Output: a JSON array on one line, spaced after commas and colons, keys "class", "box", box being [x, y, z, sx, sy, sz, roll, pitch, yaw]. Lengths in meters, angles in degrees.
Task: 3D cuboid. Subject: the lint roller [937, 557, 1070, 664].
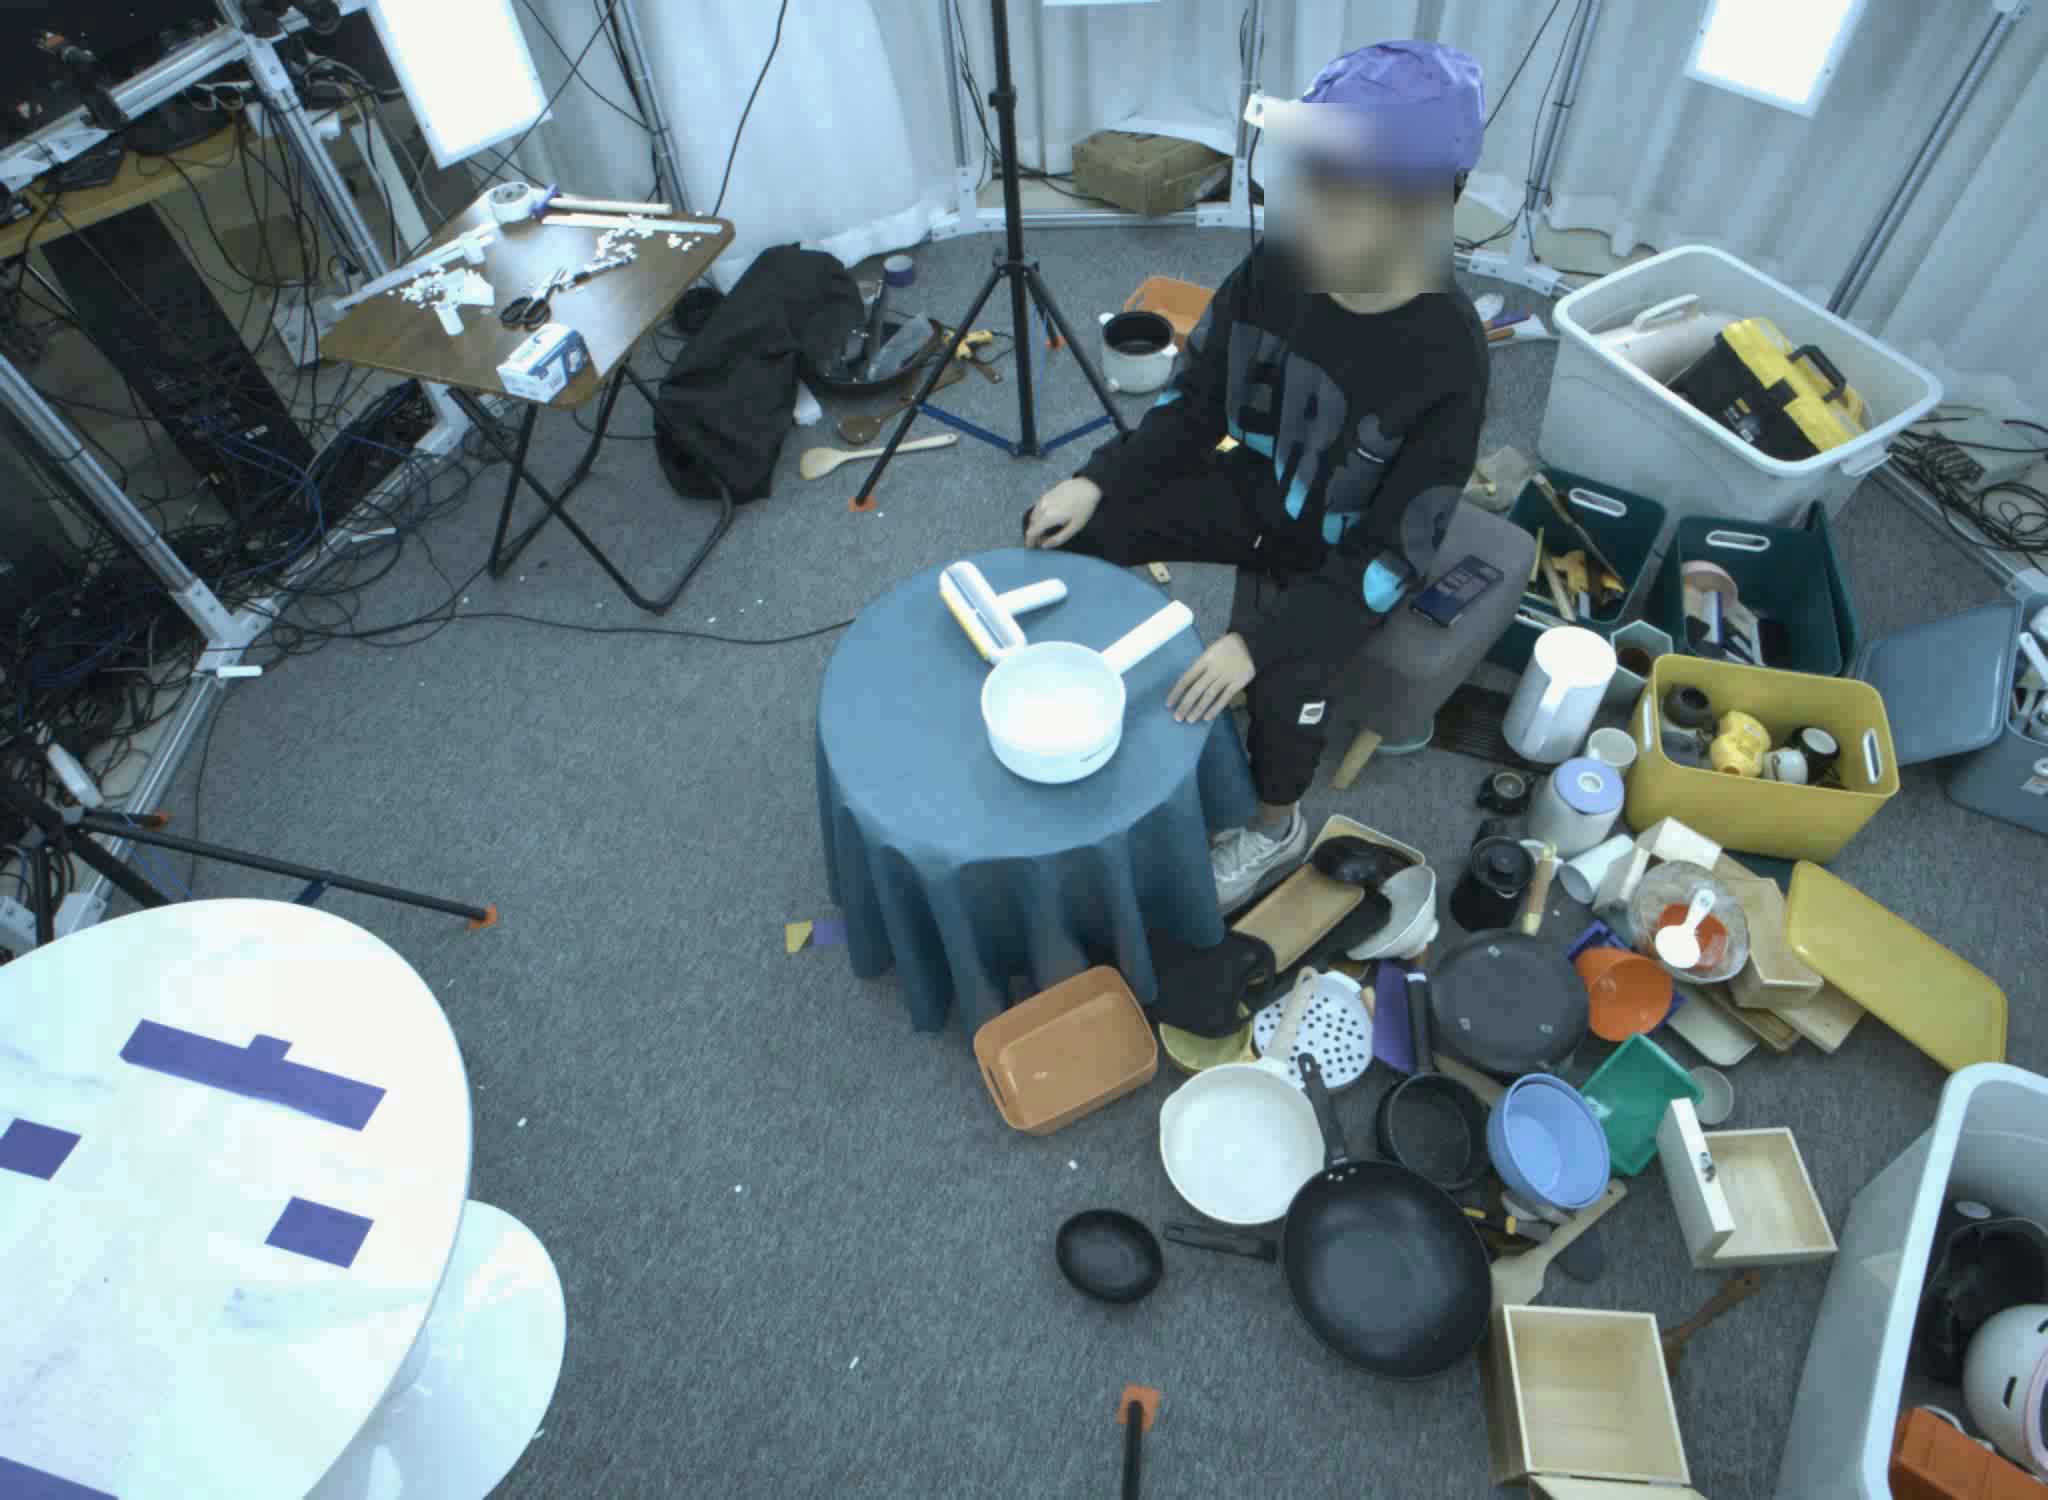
[{"class": "lint roller", "box": [-0.016, -0.233, 1.907, 0.194, 0.075, 0.189, -24, 62, -16]}]

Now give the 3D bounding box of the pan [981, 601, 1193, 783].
[{"class": "pan", "box": [0.101, -0.091, 1.781, 0.357, 0.103, 0.197, -35, 60, -21]}]
